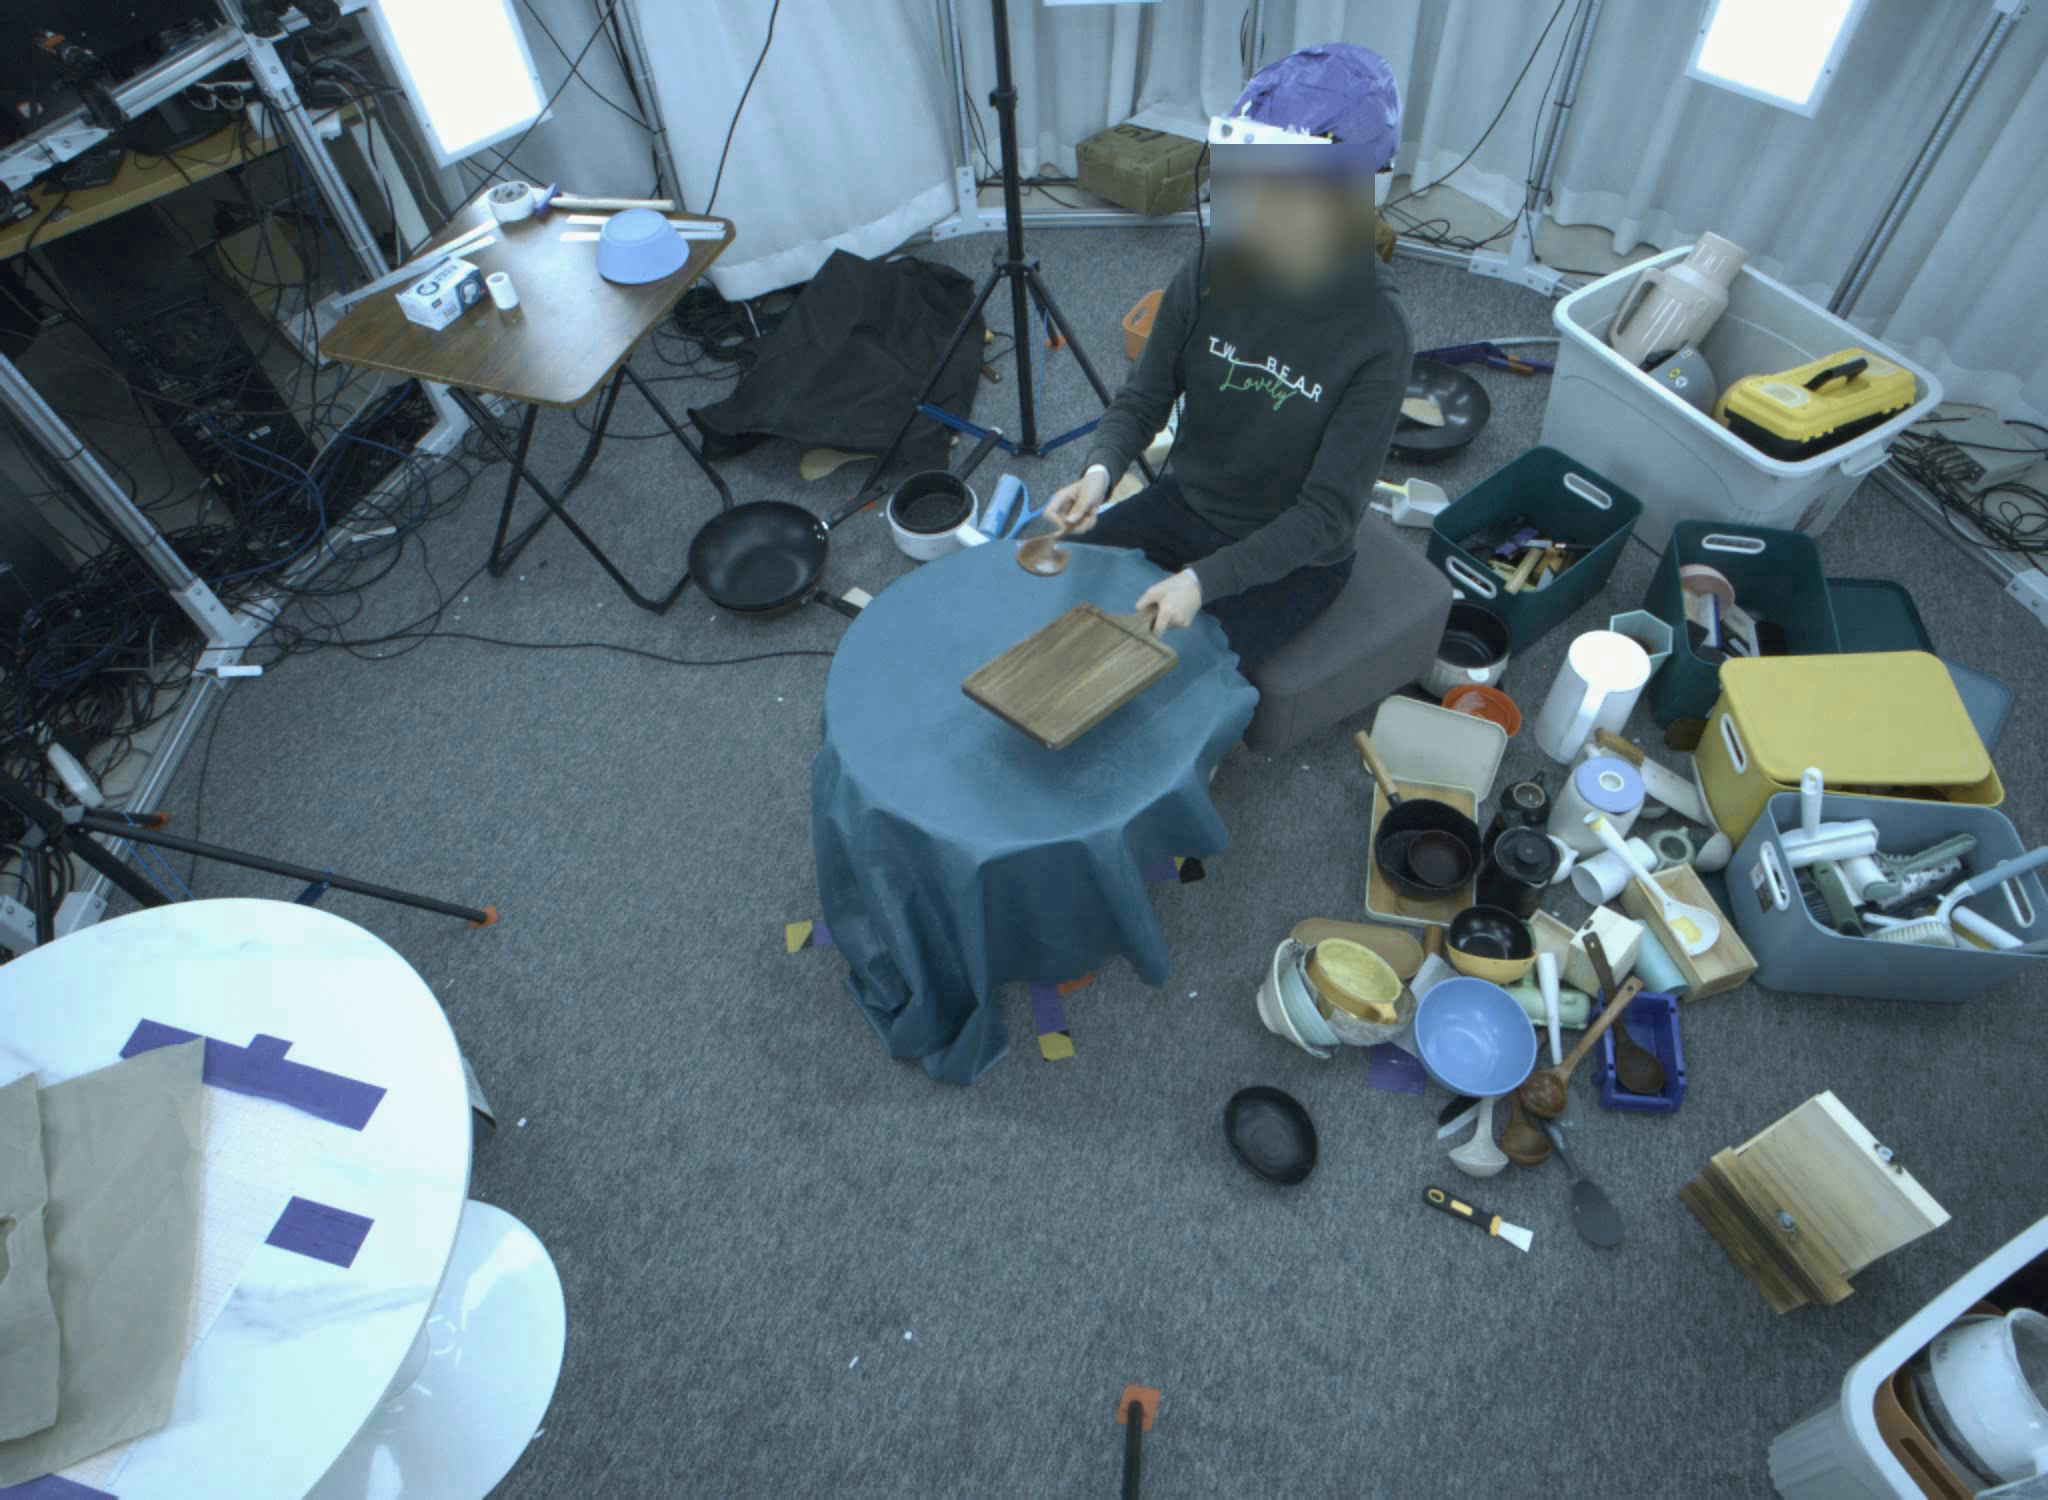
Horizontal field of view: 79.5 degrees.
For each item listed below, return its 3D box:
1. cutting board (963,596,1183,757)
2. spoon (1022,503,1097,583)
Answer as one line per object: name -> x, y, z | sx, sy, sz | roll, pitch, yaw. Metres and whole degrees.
cutting board -> 0.104, -0.128, 1.761 | 0.355, 0.023, 0.196 | -36, 50, -27
spoon -> 0.060, -0.298, 1.763 | 0.075, 0.017, 0.216 | 20, 46, 12
